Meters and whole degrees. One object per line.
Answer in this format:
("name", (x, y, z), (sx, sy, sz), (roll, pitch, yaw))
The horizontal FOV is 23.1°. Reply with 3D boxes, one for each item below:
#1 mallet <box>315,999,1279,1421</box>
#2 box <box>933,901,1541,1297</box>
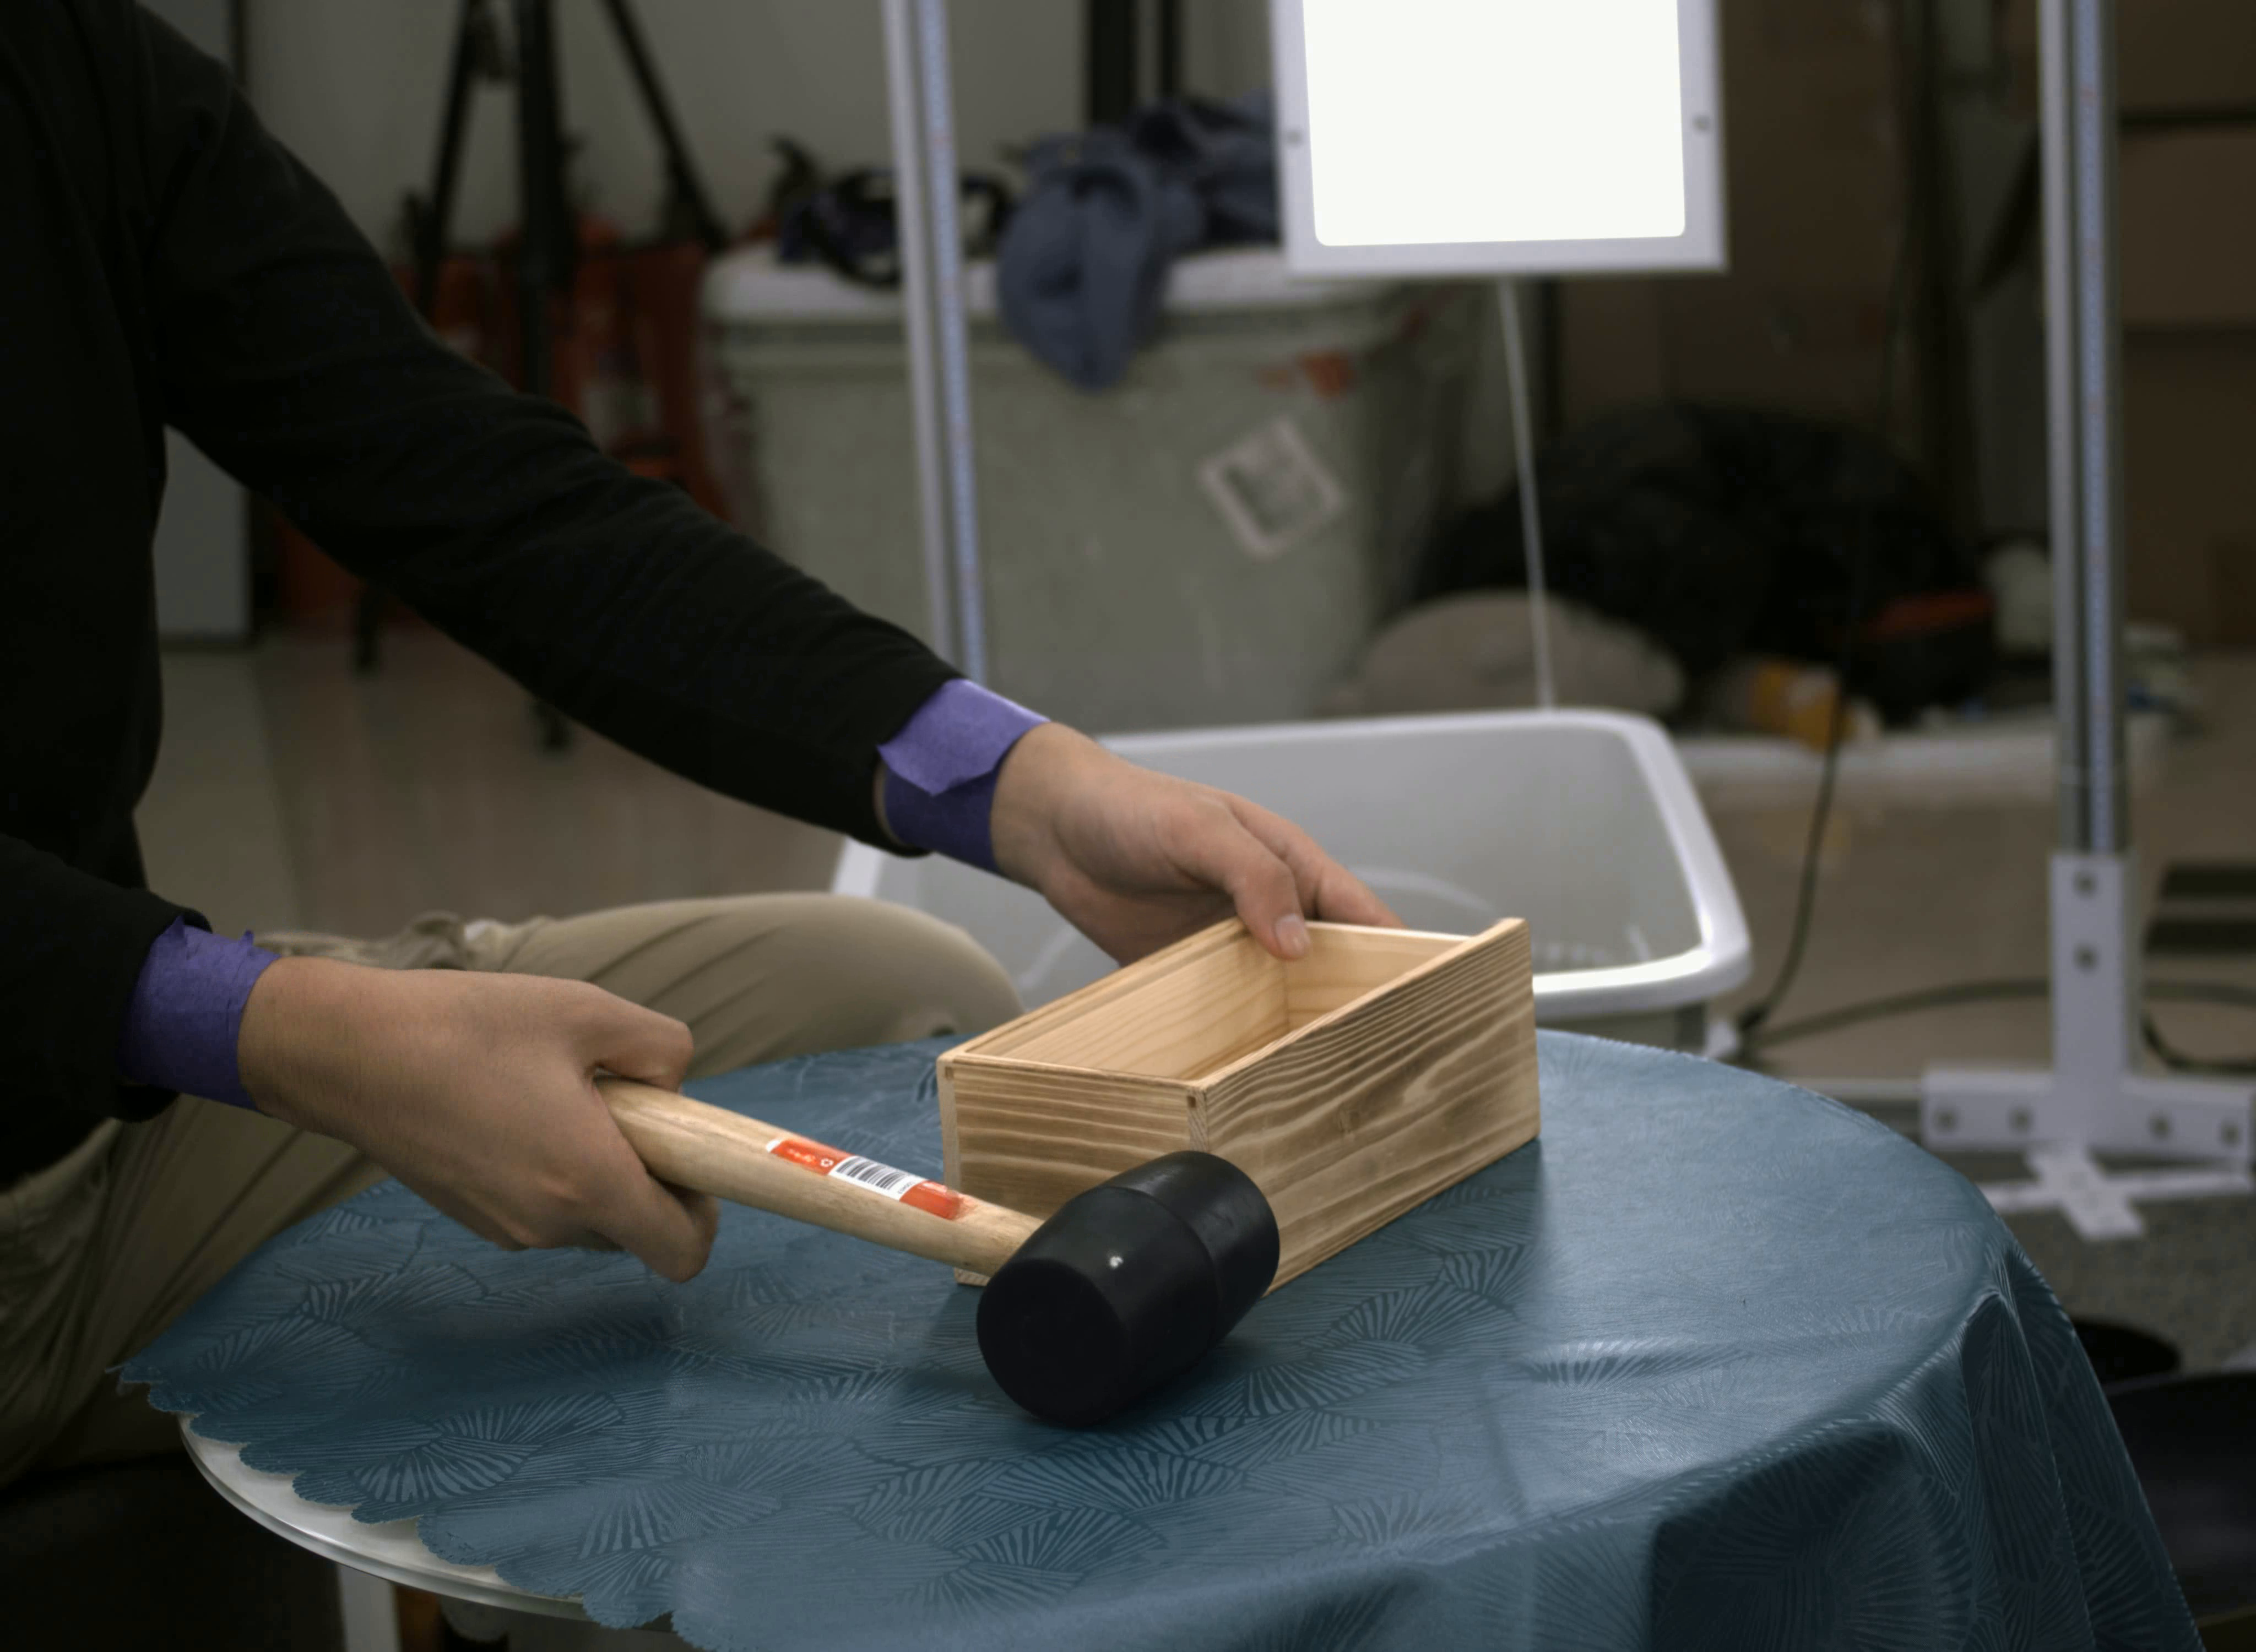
("mallet", (-0.117, 0.103, 1.766), (0.344, 0.065, 0.099), (19, 22, 28))
("box", (0.040, 0.092, 1.858), (0.110, 0.080, 0.206), (4, 16, 35))
